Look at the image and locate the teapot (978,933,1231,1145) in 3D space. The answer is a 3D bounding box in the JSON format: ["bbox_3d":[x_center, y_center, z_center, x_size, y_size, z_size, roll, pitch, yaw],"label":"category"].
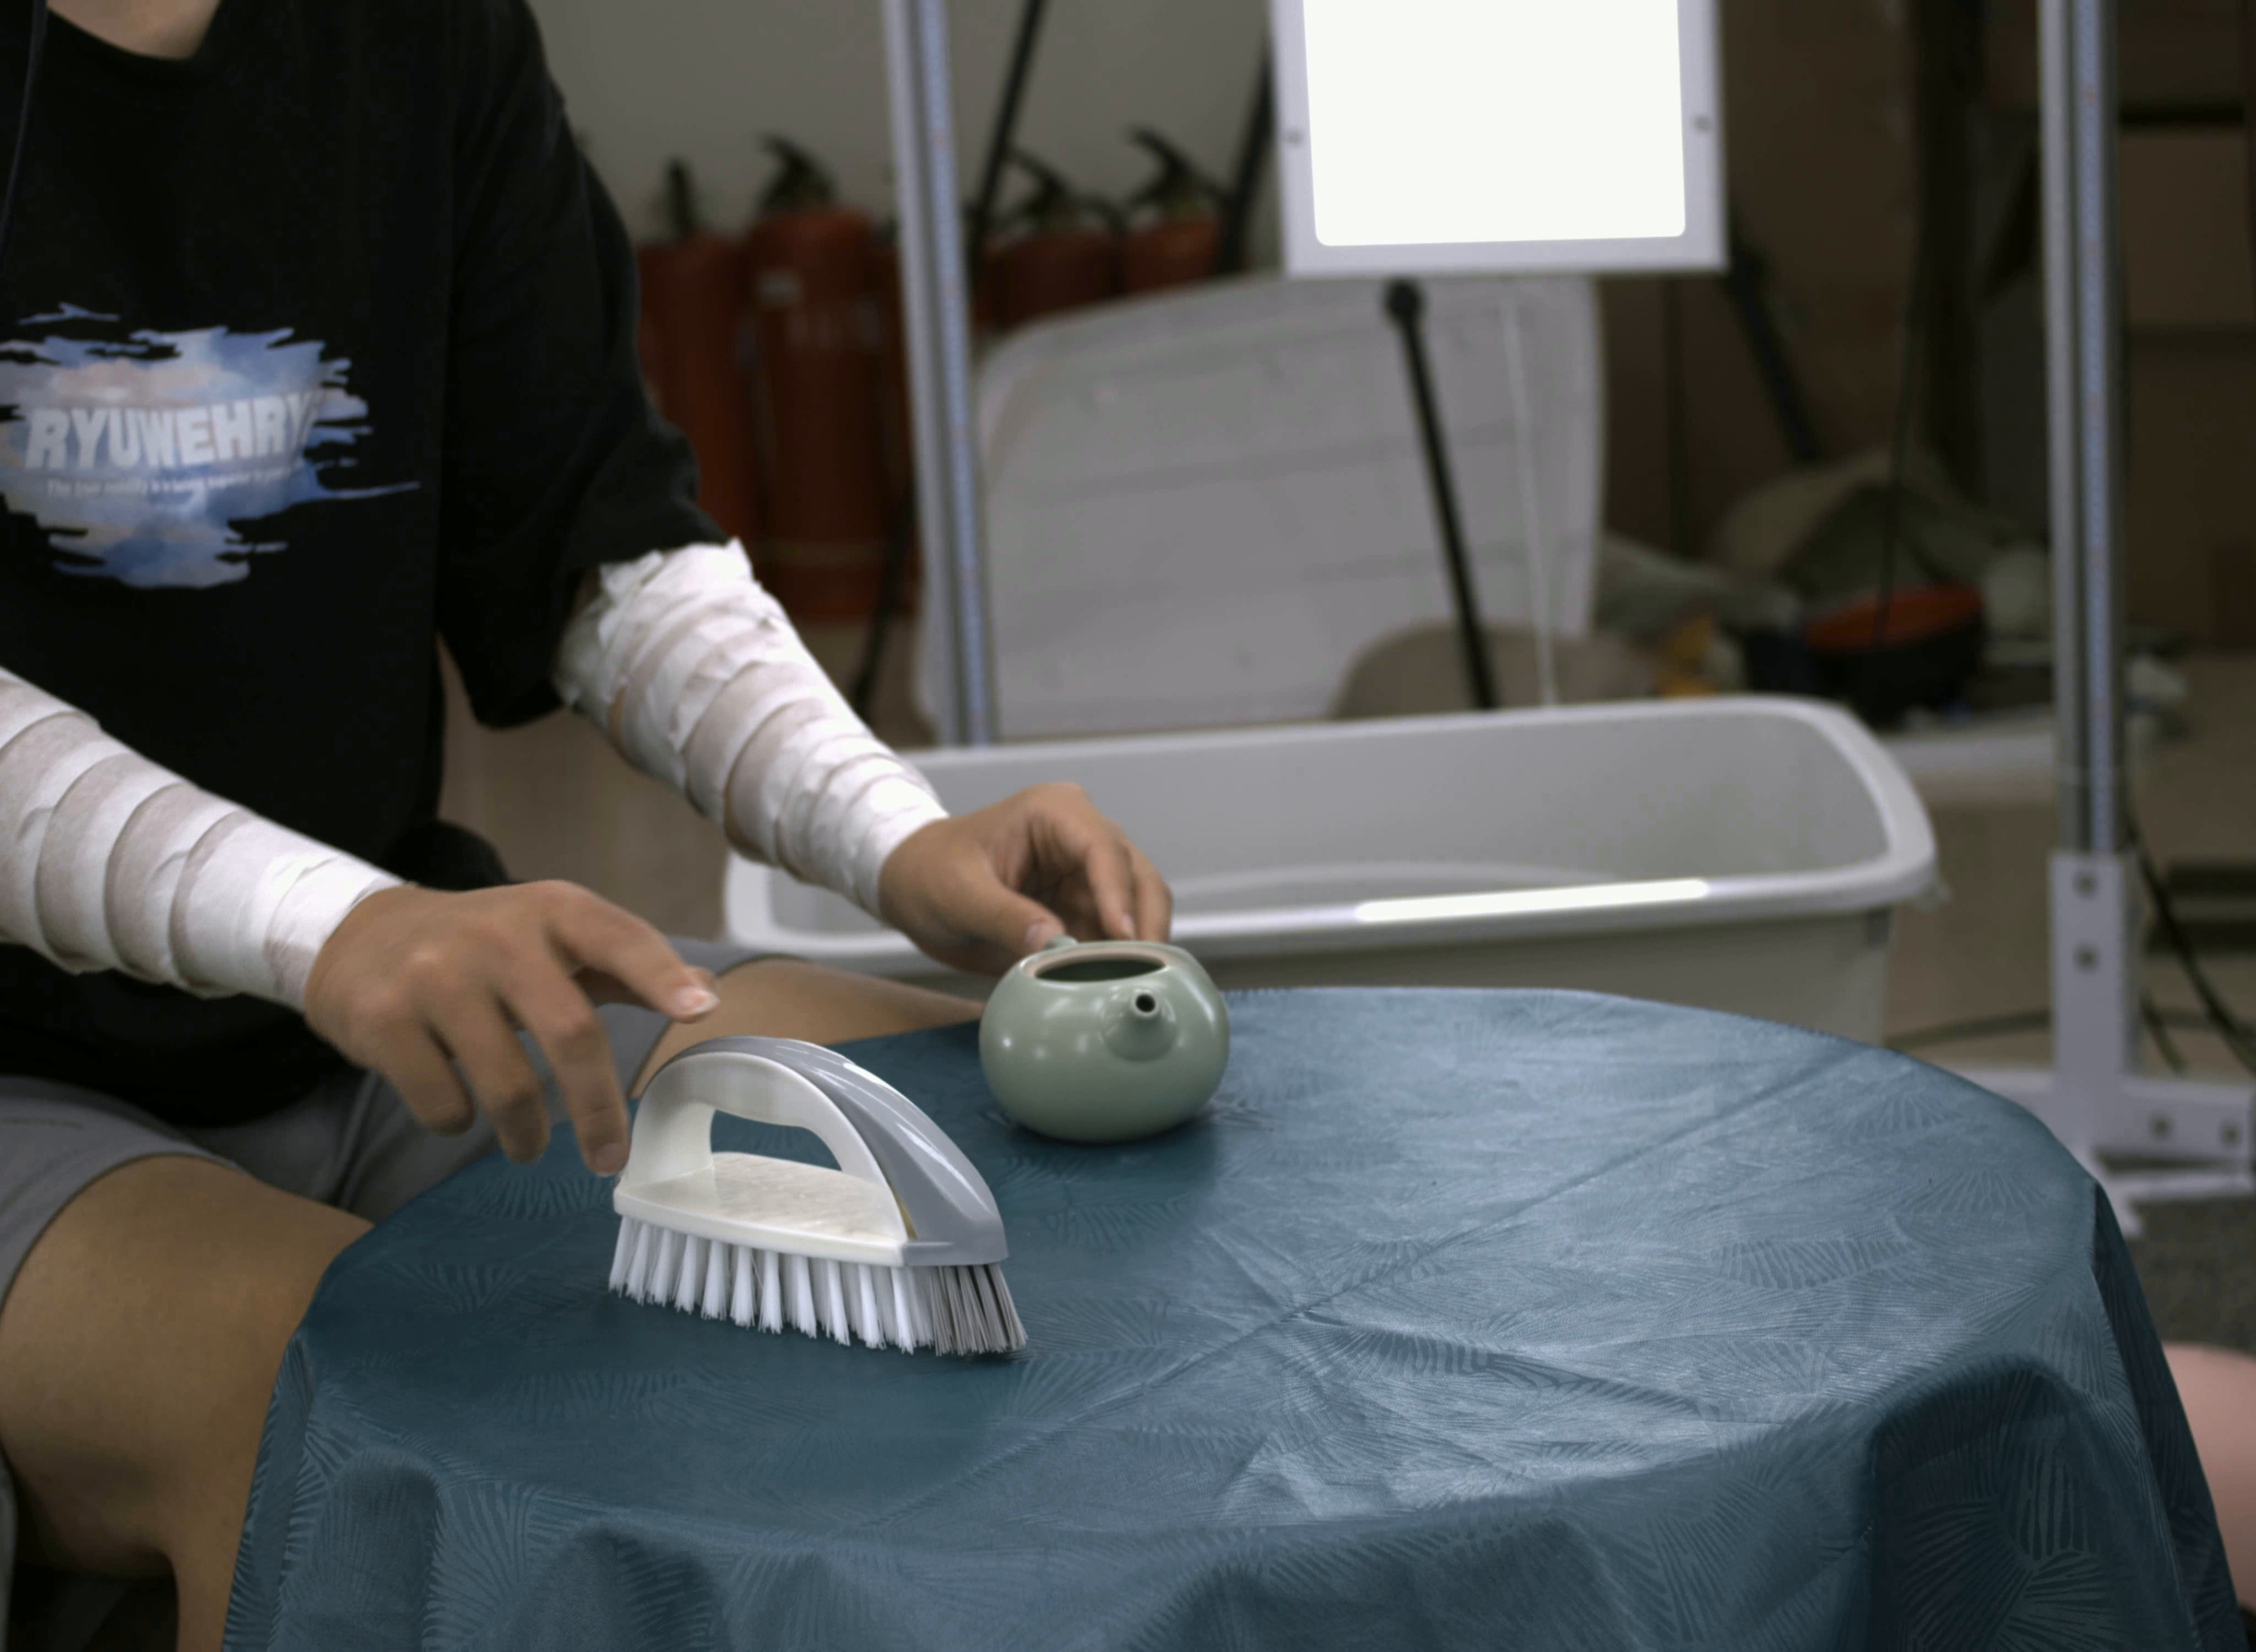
[{"bbox_3d":[-0.011,0.075,1.985,0.090,0.061,0.129,-10,14,-11],"label":"teapot"}]

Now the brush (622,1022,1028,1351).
[{"bbox_3d":[-0.098,0.114,1.792,0.060,0.094,0.179,-21,22,-39],"label":"brush"}]
